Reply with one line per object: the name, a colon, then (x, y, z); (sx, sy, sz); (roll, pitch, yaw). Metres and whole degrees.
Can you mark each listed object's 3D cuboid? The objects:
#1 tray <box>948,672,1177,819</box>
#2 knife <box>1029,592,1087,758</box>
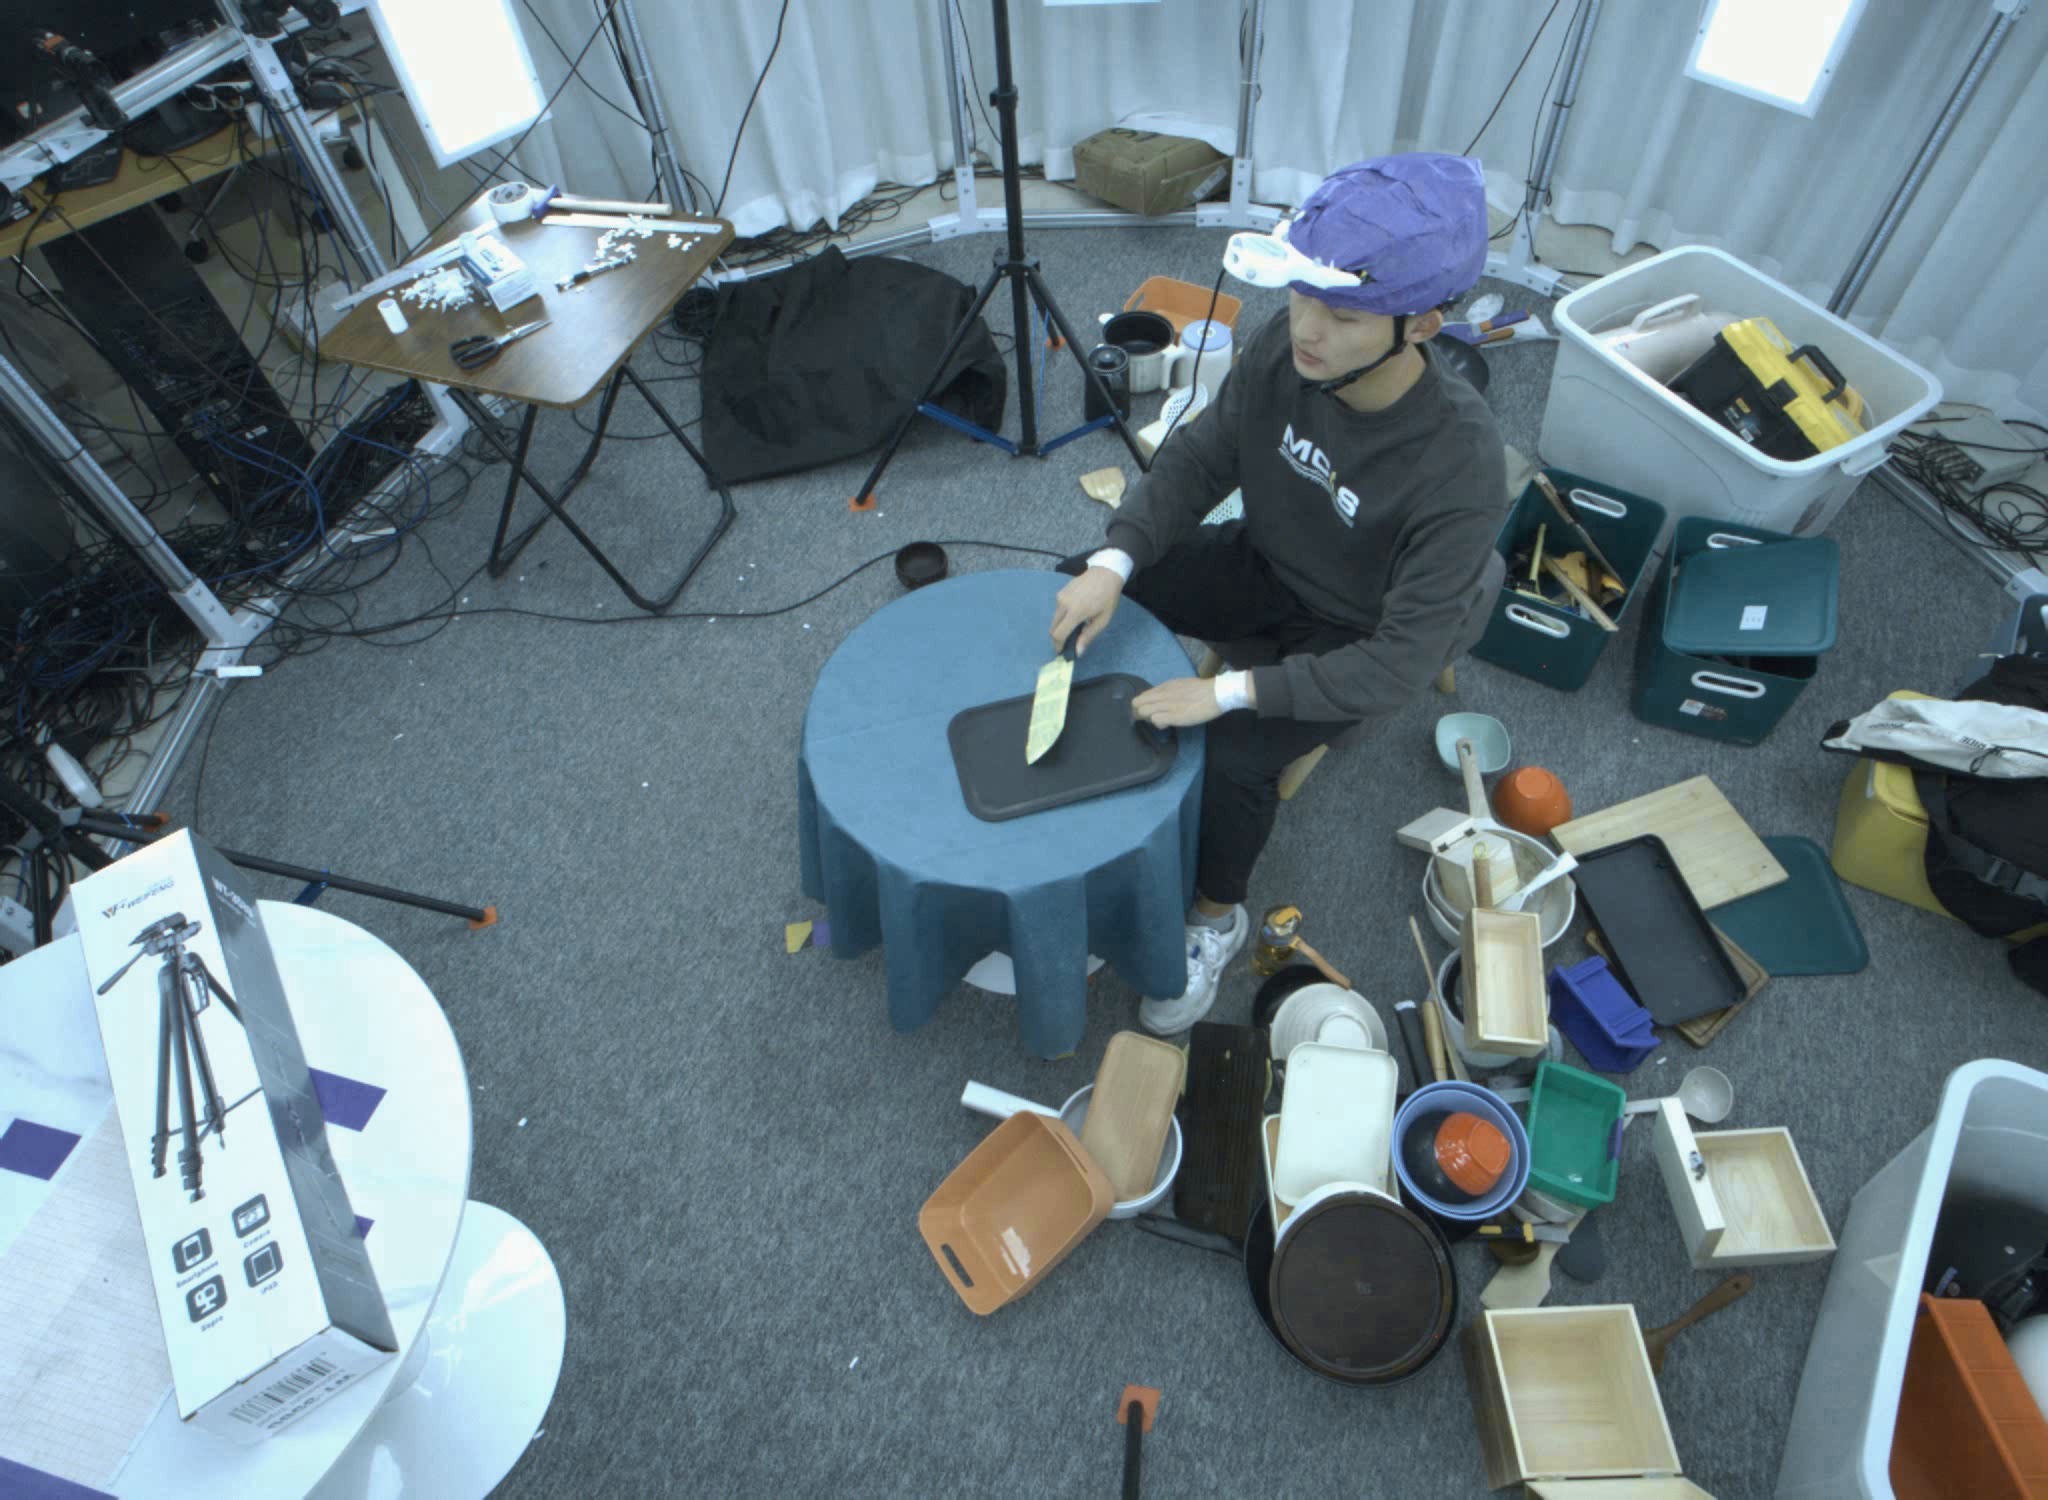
tray: (0.059, -0.014, 1.794); (0.327, 0.010, 0.208); (-14, 55, -6)
knife: (0.049, -0.113, 1.826); (0.079, 0.028, 0.288); (-14, 52, 42)
